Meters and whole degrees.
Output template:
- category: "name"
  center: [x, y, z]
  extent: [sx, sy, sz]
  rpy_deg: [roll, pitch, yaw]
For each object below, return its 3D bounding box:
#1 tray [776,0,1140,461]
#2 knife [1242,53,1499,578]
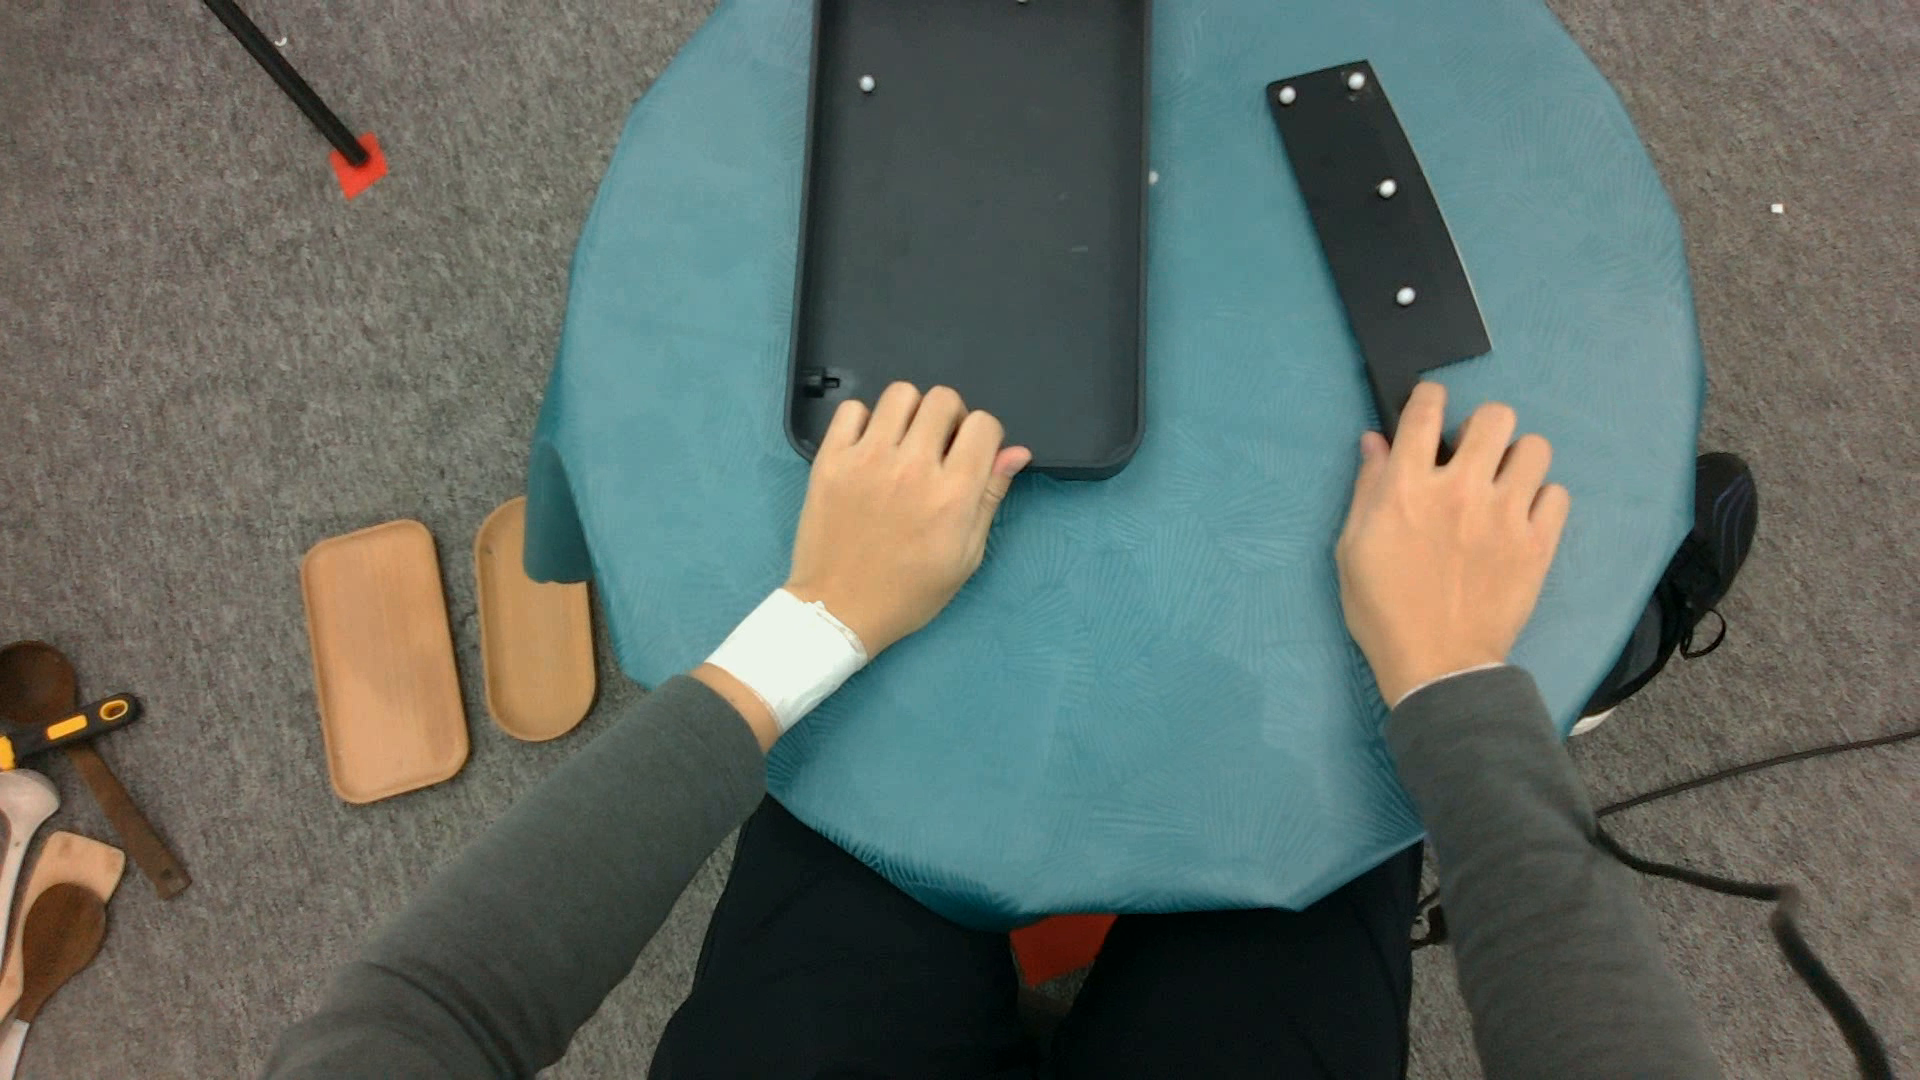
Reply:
- category: "tray"
  center: [-0.001, -0.198, 0.737]
  extent: [0.184, 0.037, 0.318]
  rpy_deg: [-1, 77, 3]
- category: "knife"
  center: [0.222, -0.123, 0.720]
  extent: [0.081, 0.021, 0.303]
  rpy_deg: [-11, 75, -3]
